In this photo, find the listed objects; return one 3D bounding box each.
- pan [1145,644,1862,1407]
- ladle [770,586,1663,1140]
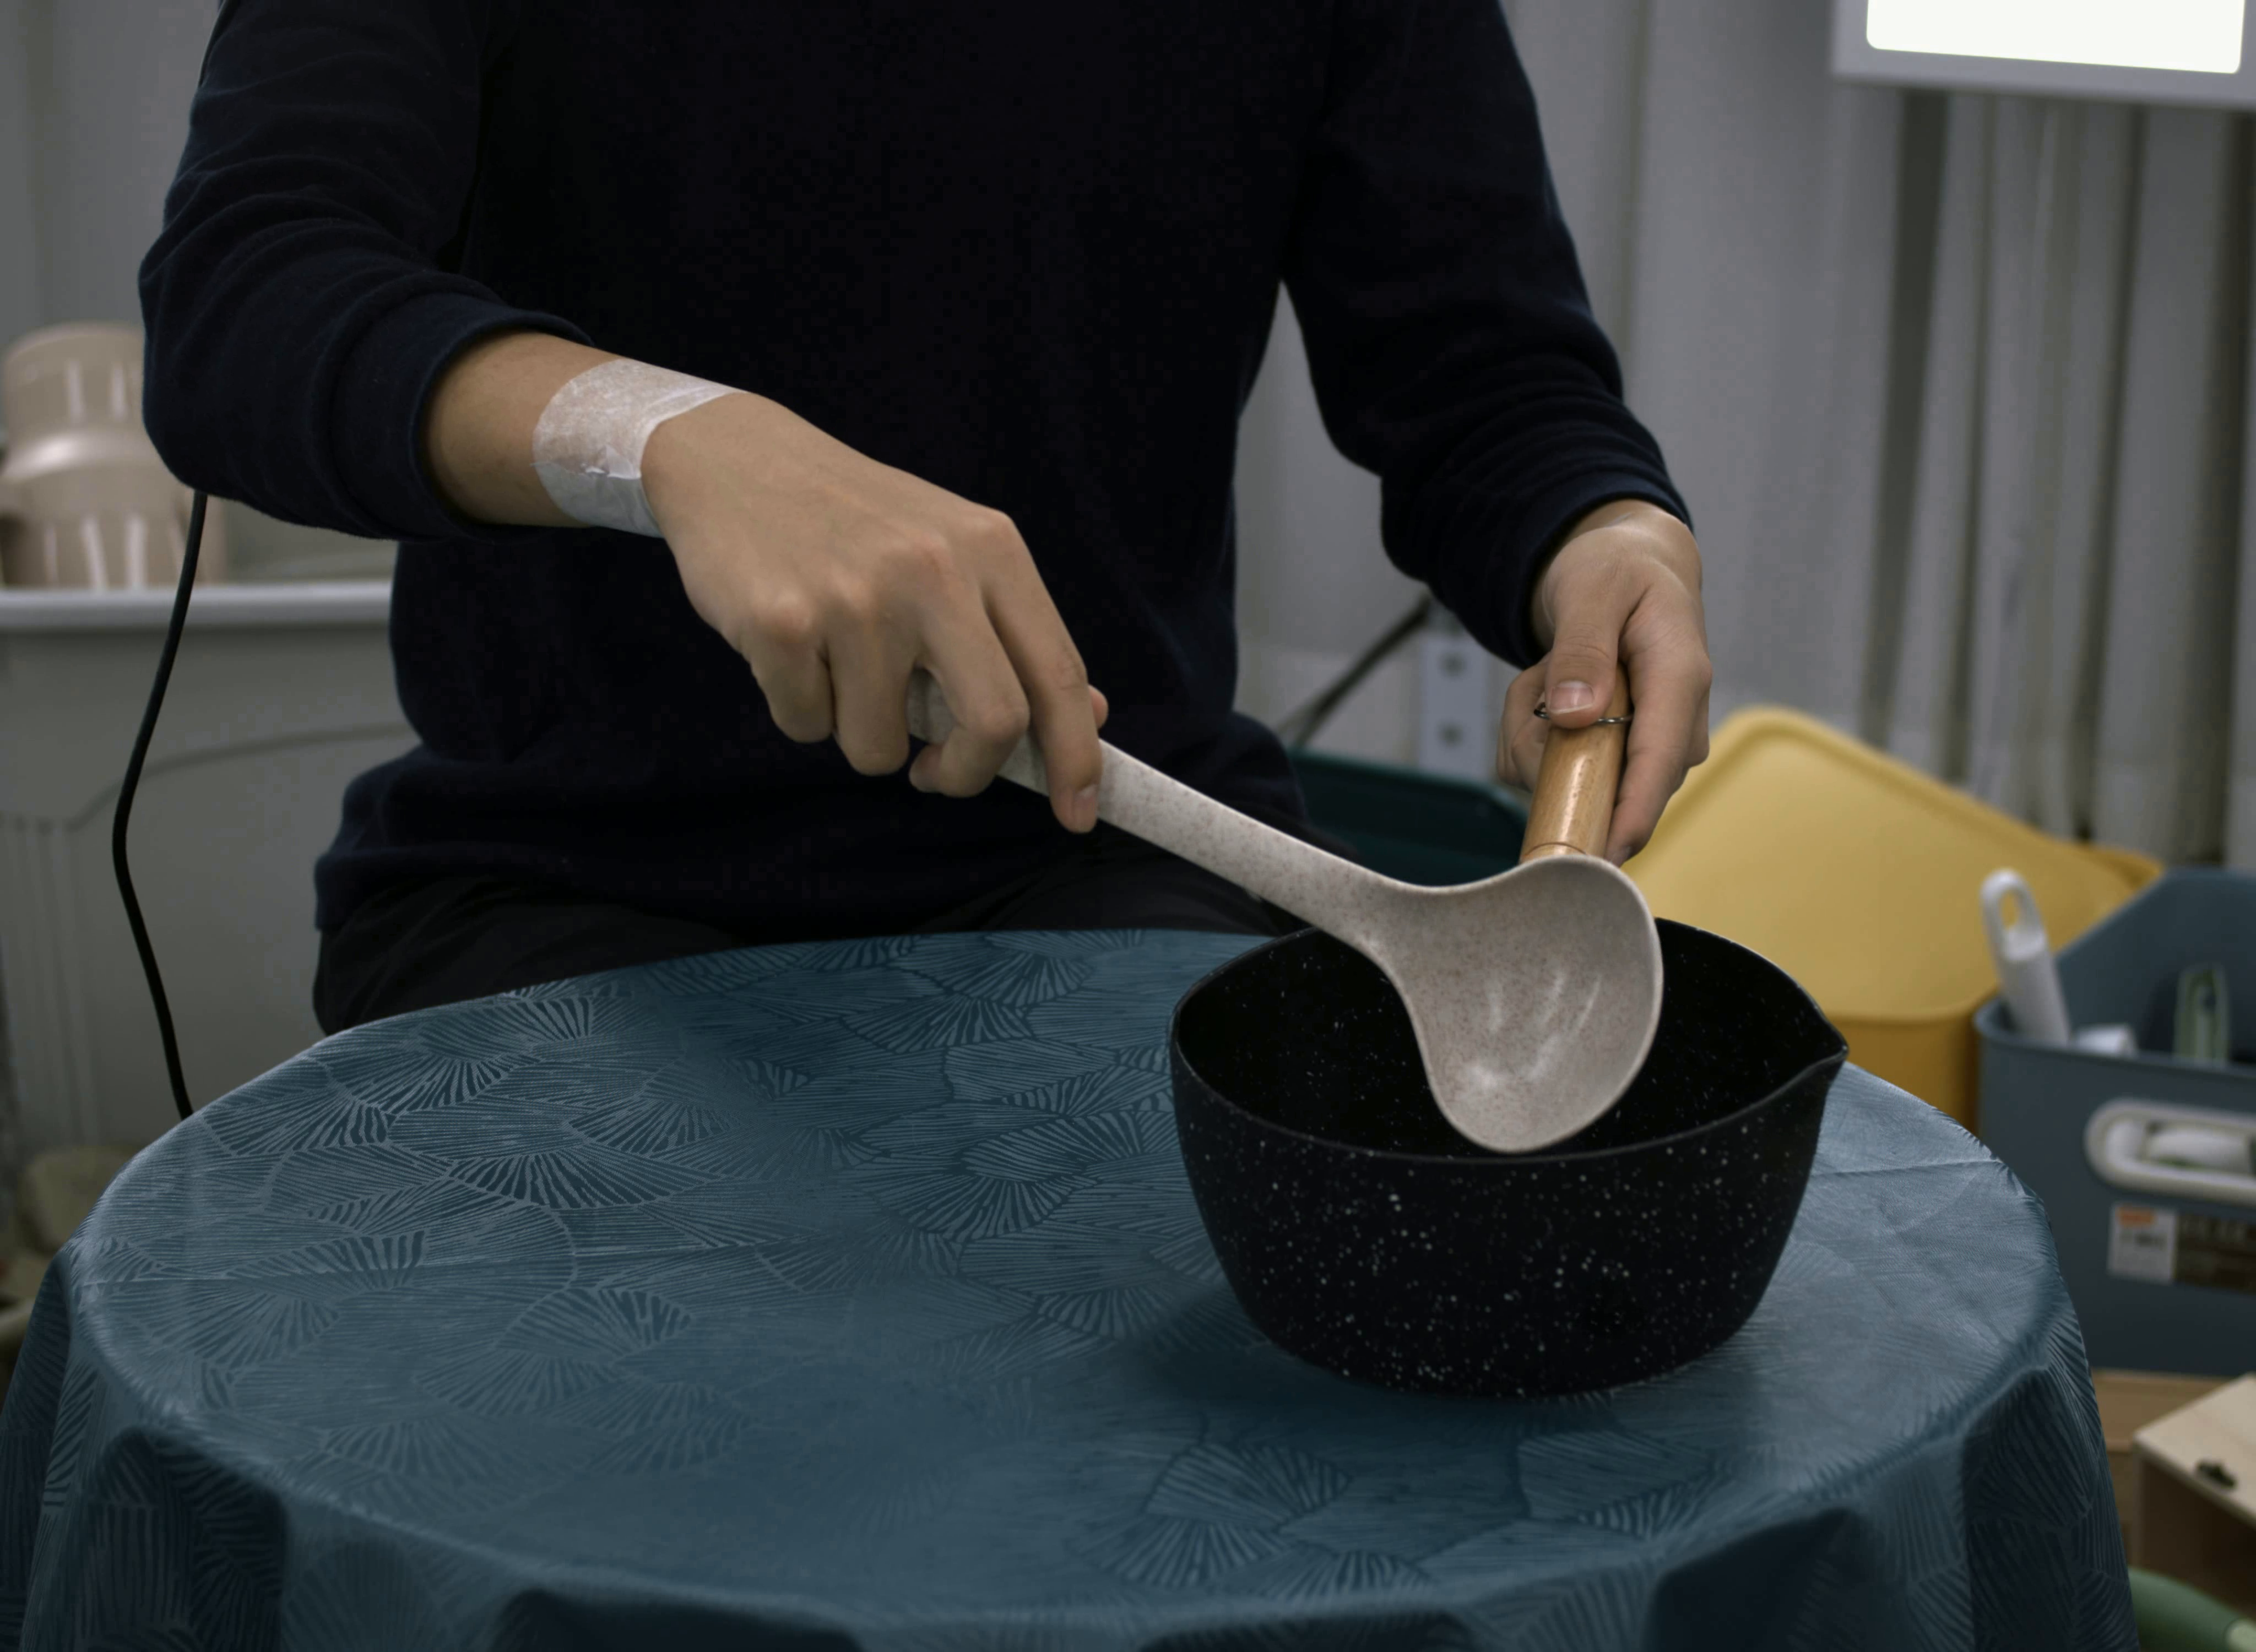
[{"bbox_3d":[0.119,0.054,1.576,0.206,0.109,0.341,1,23,10],"label":"pan"},{"bbox_3d":[0.023,0.004,1.483,0.275,0.089,0.069,26,12,-10],"label":"ladle"}]
